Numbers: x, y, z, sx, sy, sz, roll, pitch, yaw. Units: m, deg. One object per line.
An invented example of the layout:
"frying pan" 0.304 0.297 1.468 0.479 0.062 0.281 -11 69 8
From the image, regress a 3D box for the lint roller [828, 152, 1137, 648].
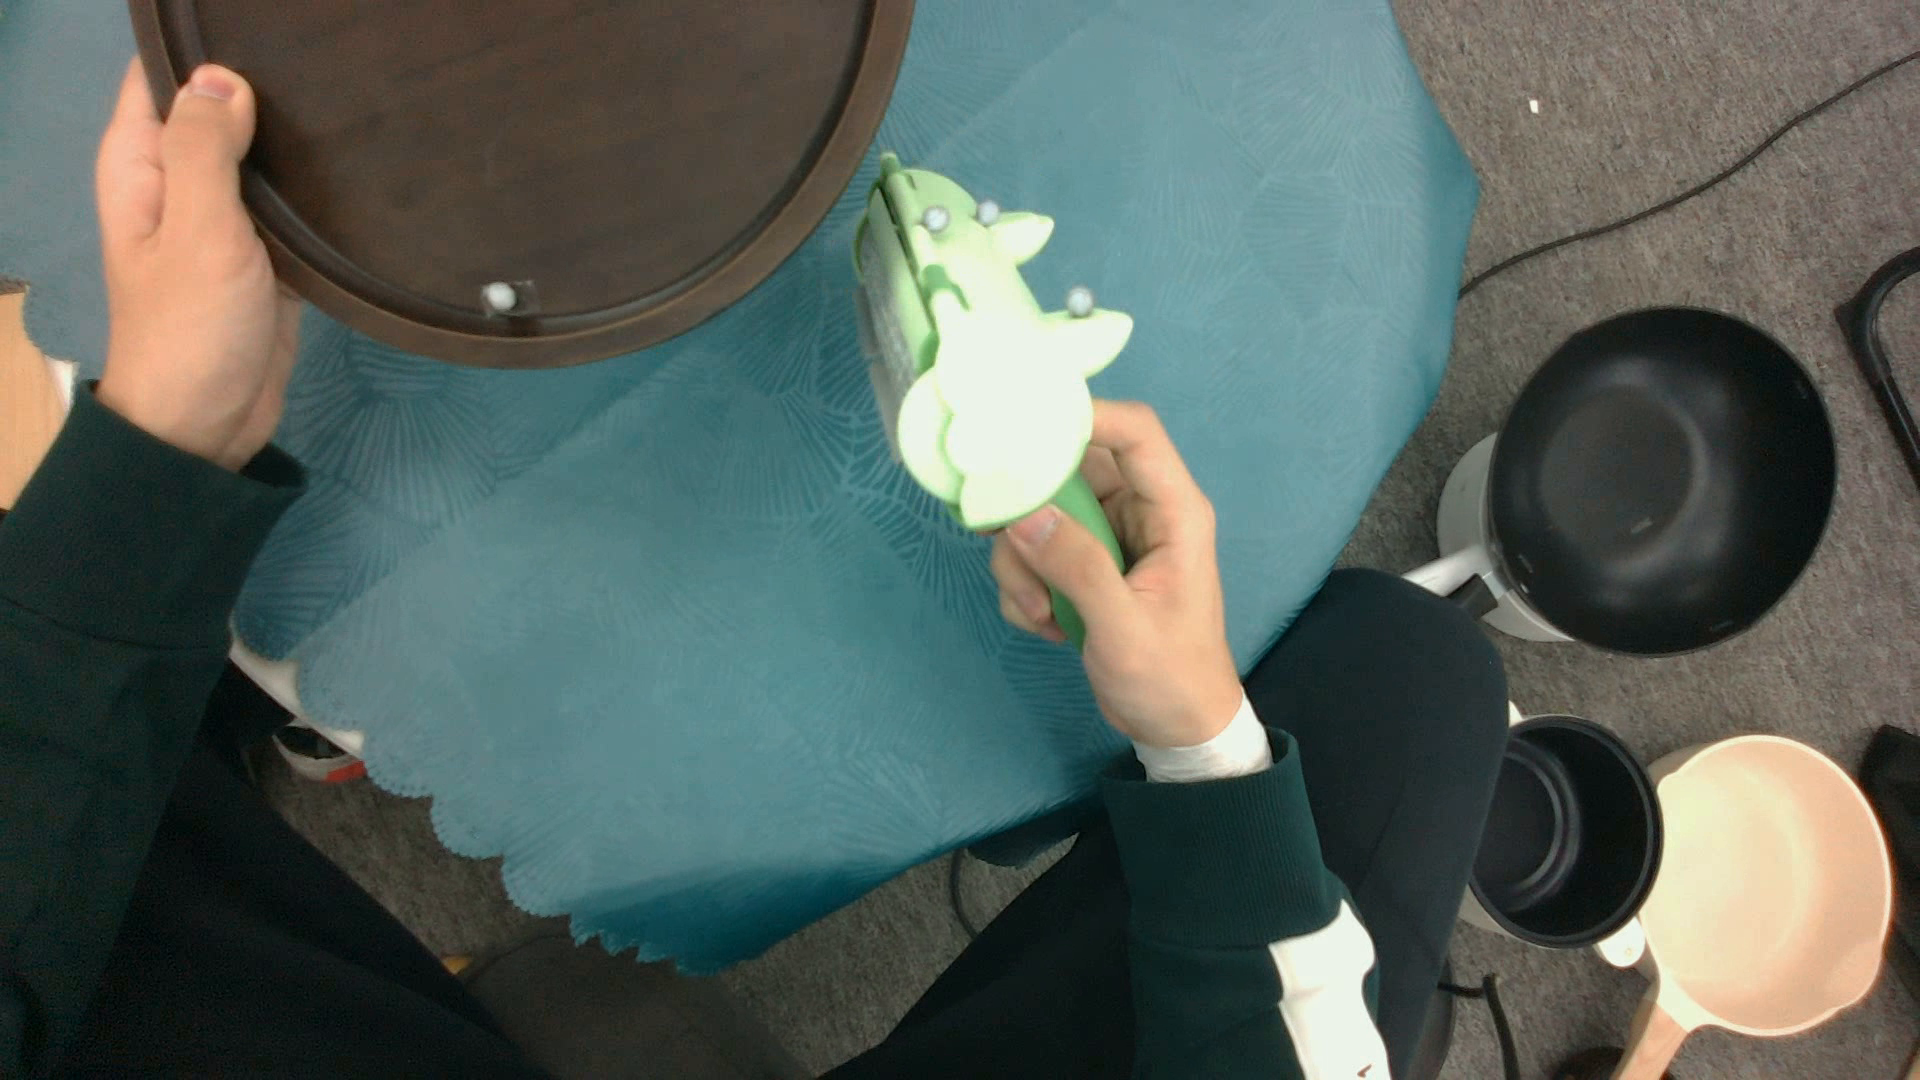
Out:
"lint roller" 0.031 -0.042 0.474 0.082 0.199 0.183 -37 117 8

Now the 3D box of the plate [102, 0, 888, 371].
"plate" -0.143 -0.180 0.415 0.254 0.029 0.254 1 99 7
